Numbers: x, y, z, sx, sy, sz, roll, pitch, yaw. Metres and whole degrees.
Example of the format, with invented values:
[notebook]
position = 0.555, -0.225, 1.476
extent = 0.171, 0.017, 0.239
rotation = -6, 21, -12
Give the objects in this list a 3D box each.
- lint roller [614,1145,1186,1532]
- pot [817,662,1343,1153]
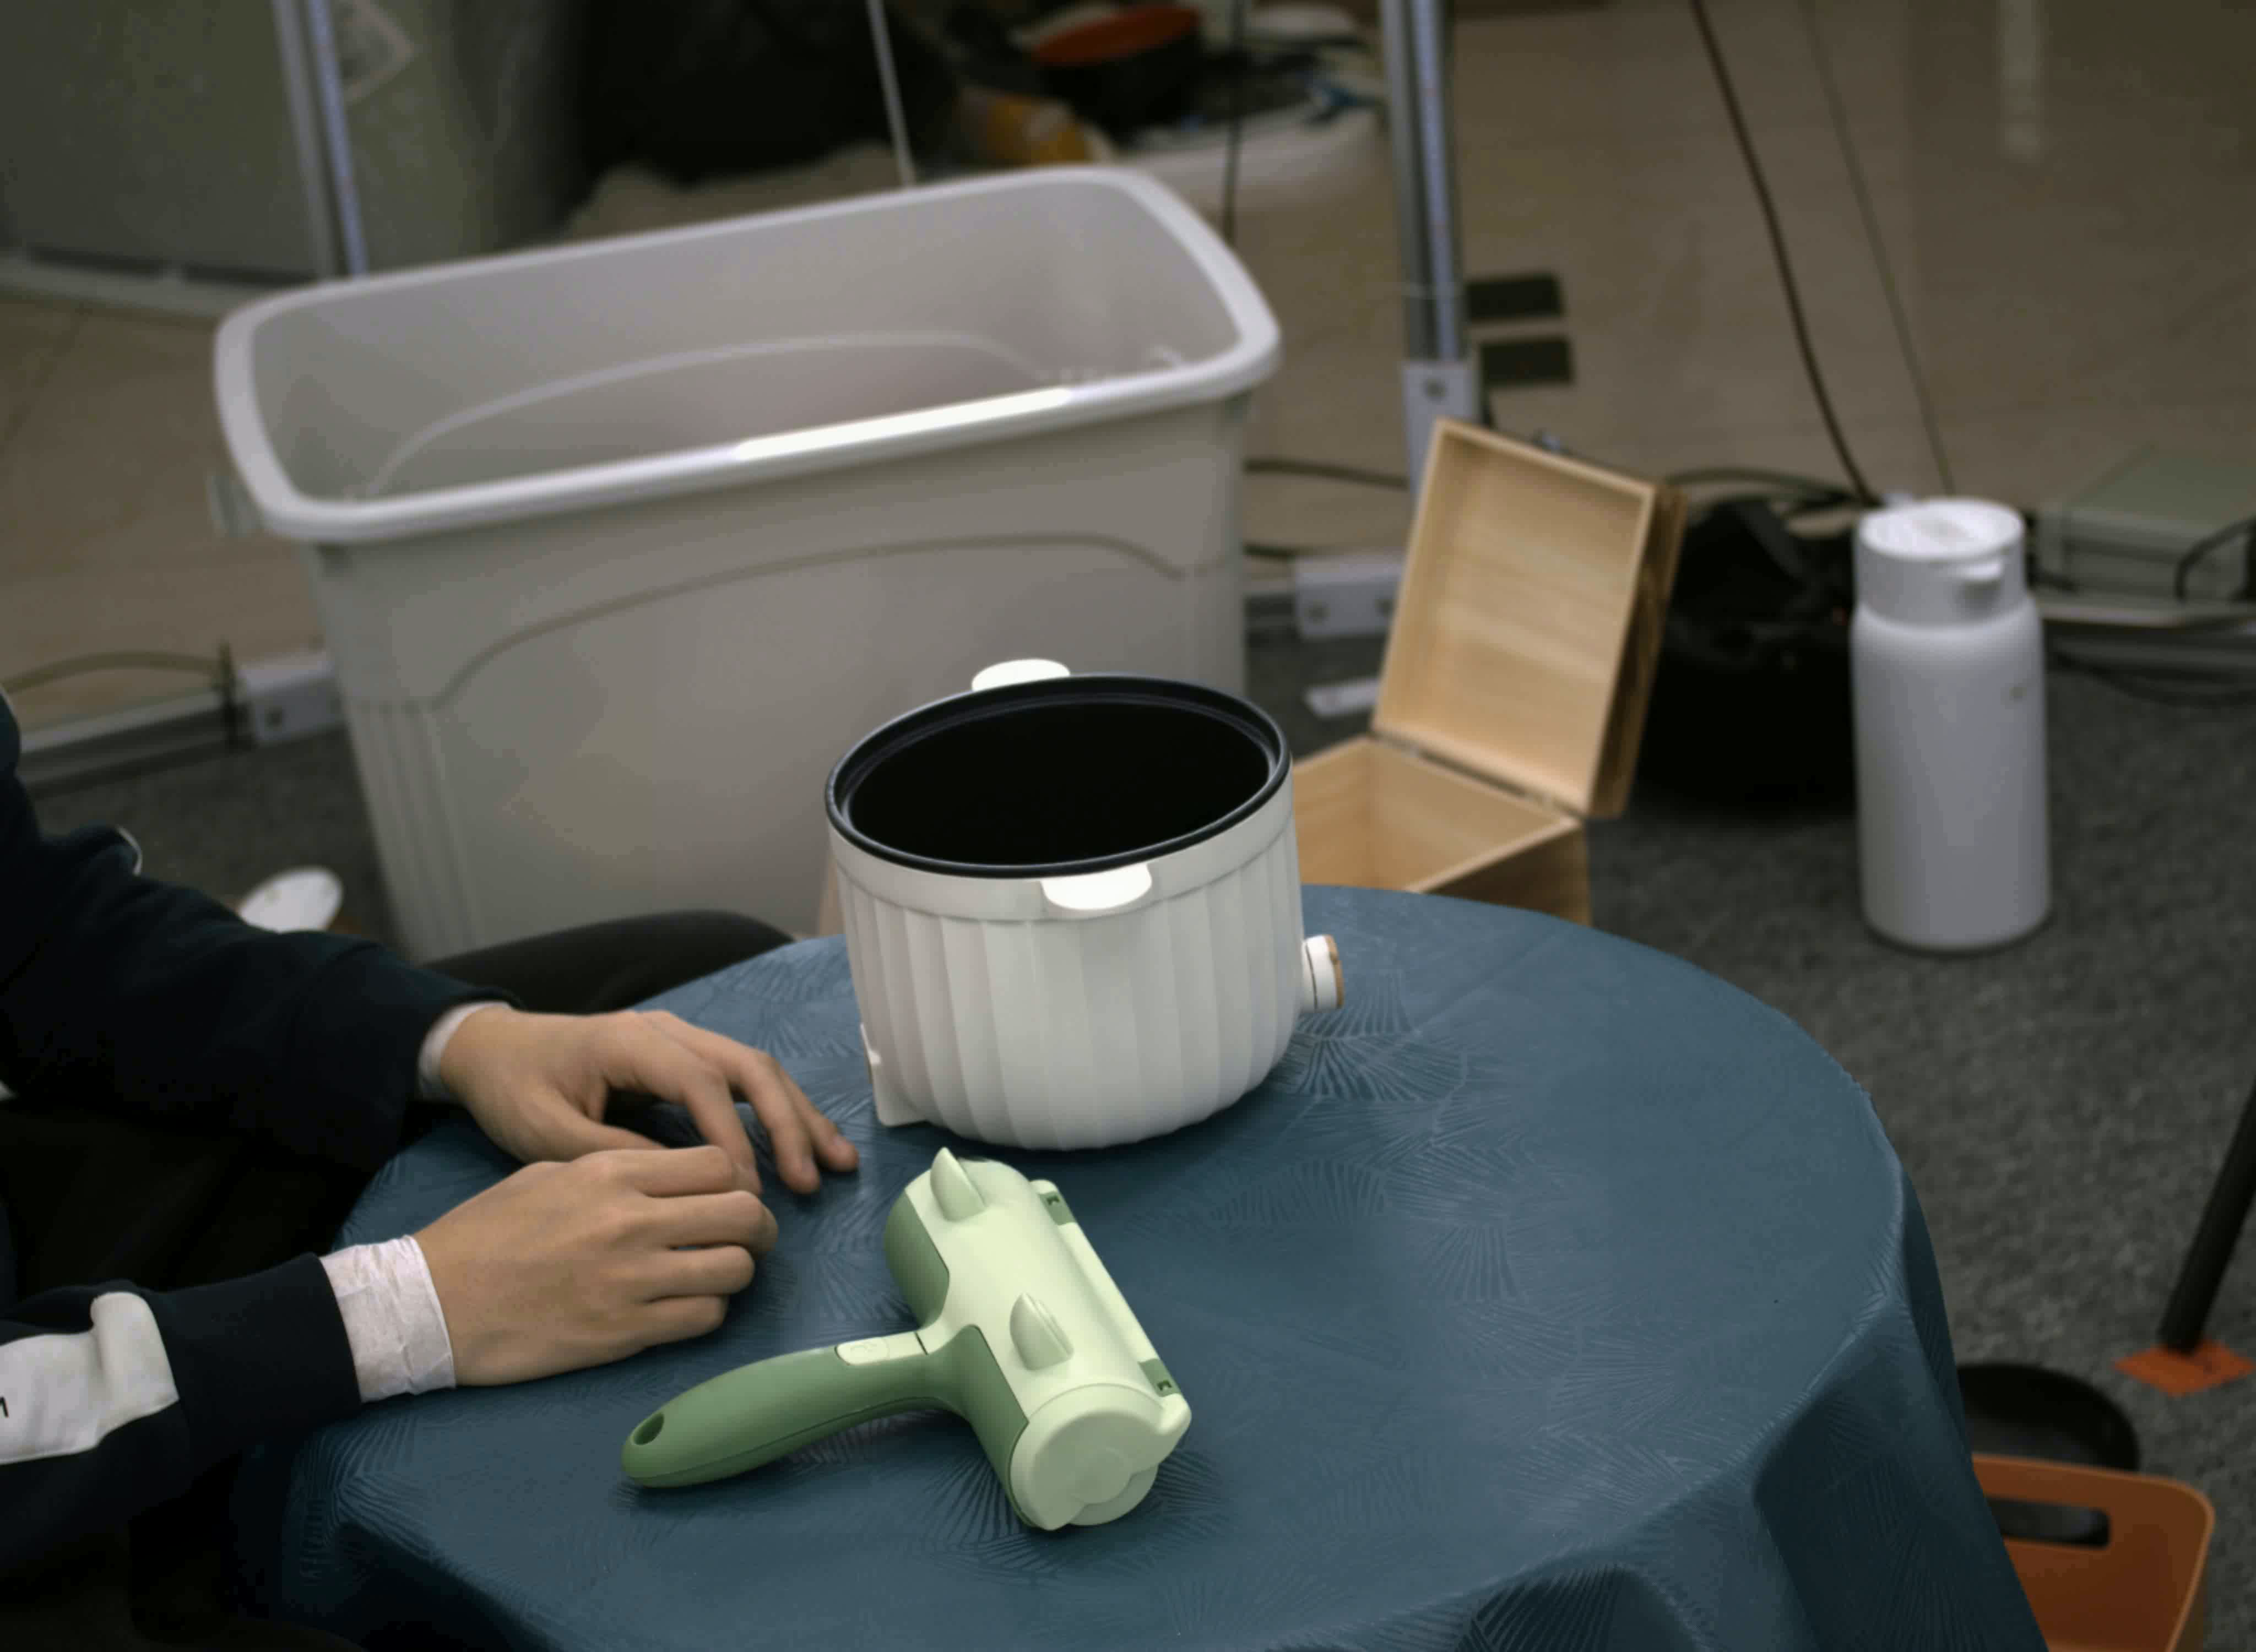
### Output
[lint roller]
position = -0.091, 0.180, 1.988
extent = 0.183, 0.083, 0.196
rotation = -7, 25, -14
[pot]
position = -0.017, 0.037, 2.202
extent = 0.190, 0.145, 0.237
rotation = -12, 27, -5
